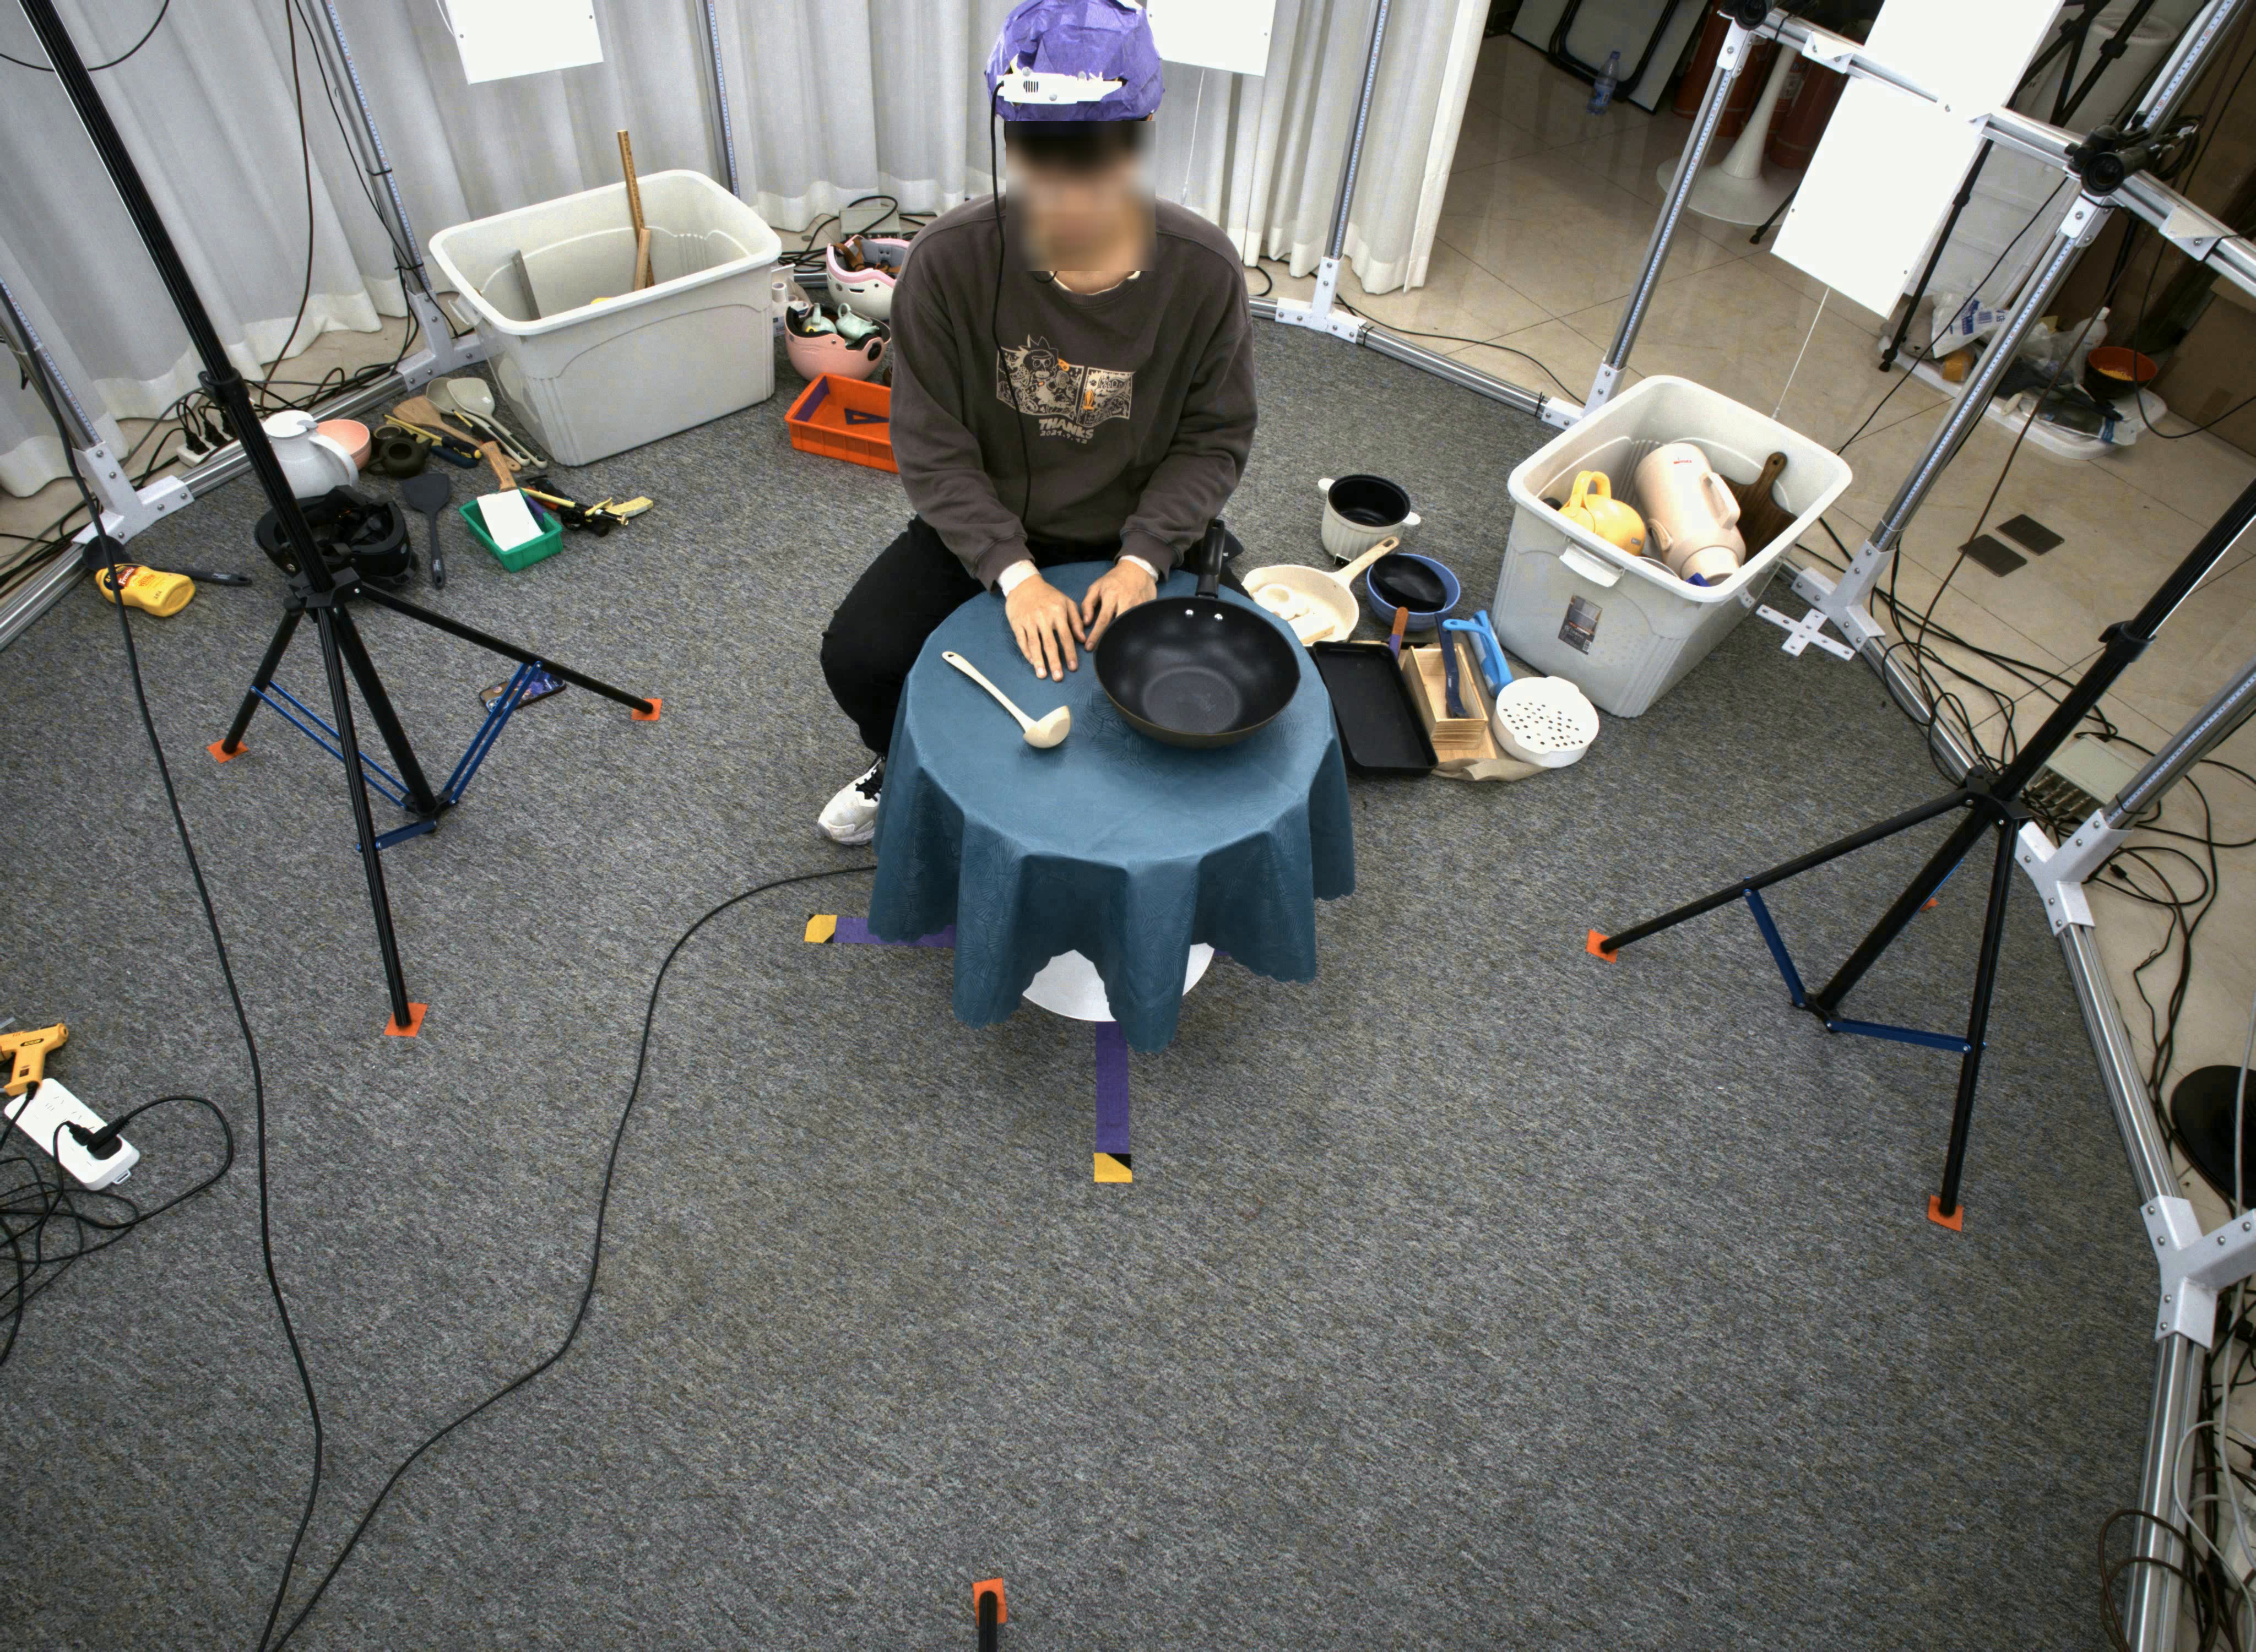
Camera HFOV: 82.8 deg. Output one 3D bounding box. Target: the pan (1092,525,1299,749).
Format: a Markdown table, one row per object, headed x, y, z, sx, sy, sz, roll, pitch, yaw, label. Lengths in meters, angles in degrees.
| x | y | z | sx | sy | sz | roll | pitch | yaw | label |
| --- | --- | --- | --- | --- | --- | --- | --- | --- | --- |
| 0.104 | -0.269 | 1.853 | 0.288 | 0.085 | 0.474 | 8 | 48 | 3 | pan |

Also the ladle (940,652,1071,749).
| x | y | z | sx | sy | sz | roll | pitch | yaw | label |
| --- | --- | --- | --- | --- | --- | --- | --- | --- | --- |
| -0.179 | -0.196 | 1.778 | 0.073 | 0.071 | 0.258 | -35 | 60 | -27 | ladle |
